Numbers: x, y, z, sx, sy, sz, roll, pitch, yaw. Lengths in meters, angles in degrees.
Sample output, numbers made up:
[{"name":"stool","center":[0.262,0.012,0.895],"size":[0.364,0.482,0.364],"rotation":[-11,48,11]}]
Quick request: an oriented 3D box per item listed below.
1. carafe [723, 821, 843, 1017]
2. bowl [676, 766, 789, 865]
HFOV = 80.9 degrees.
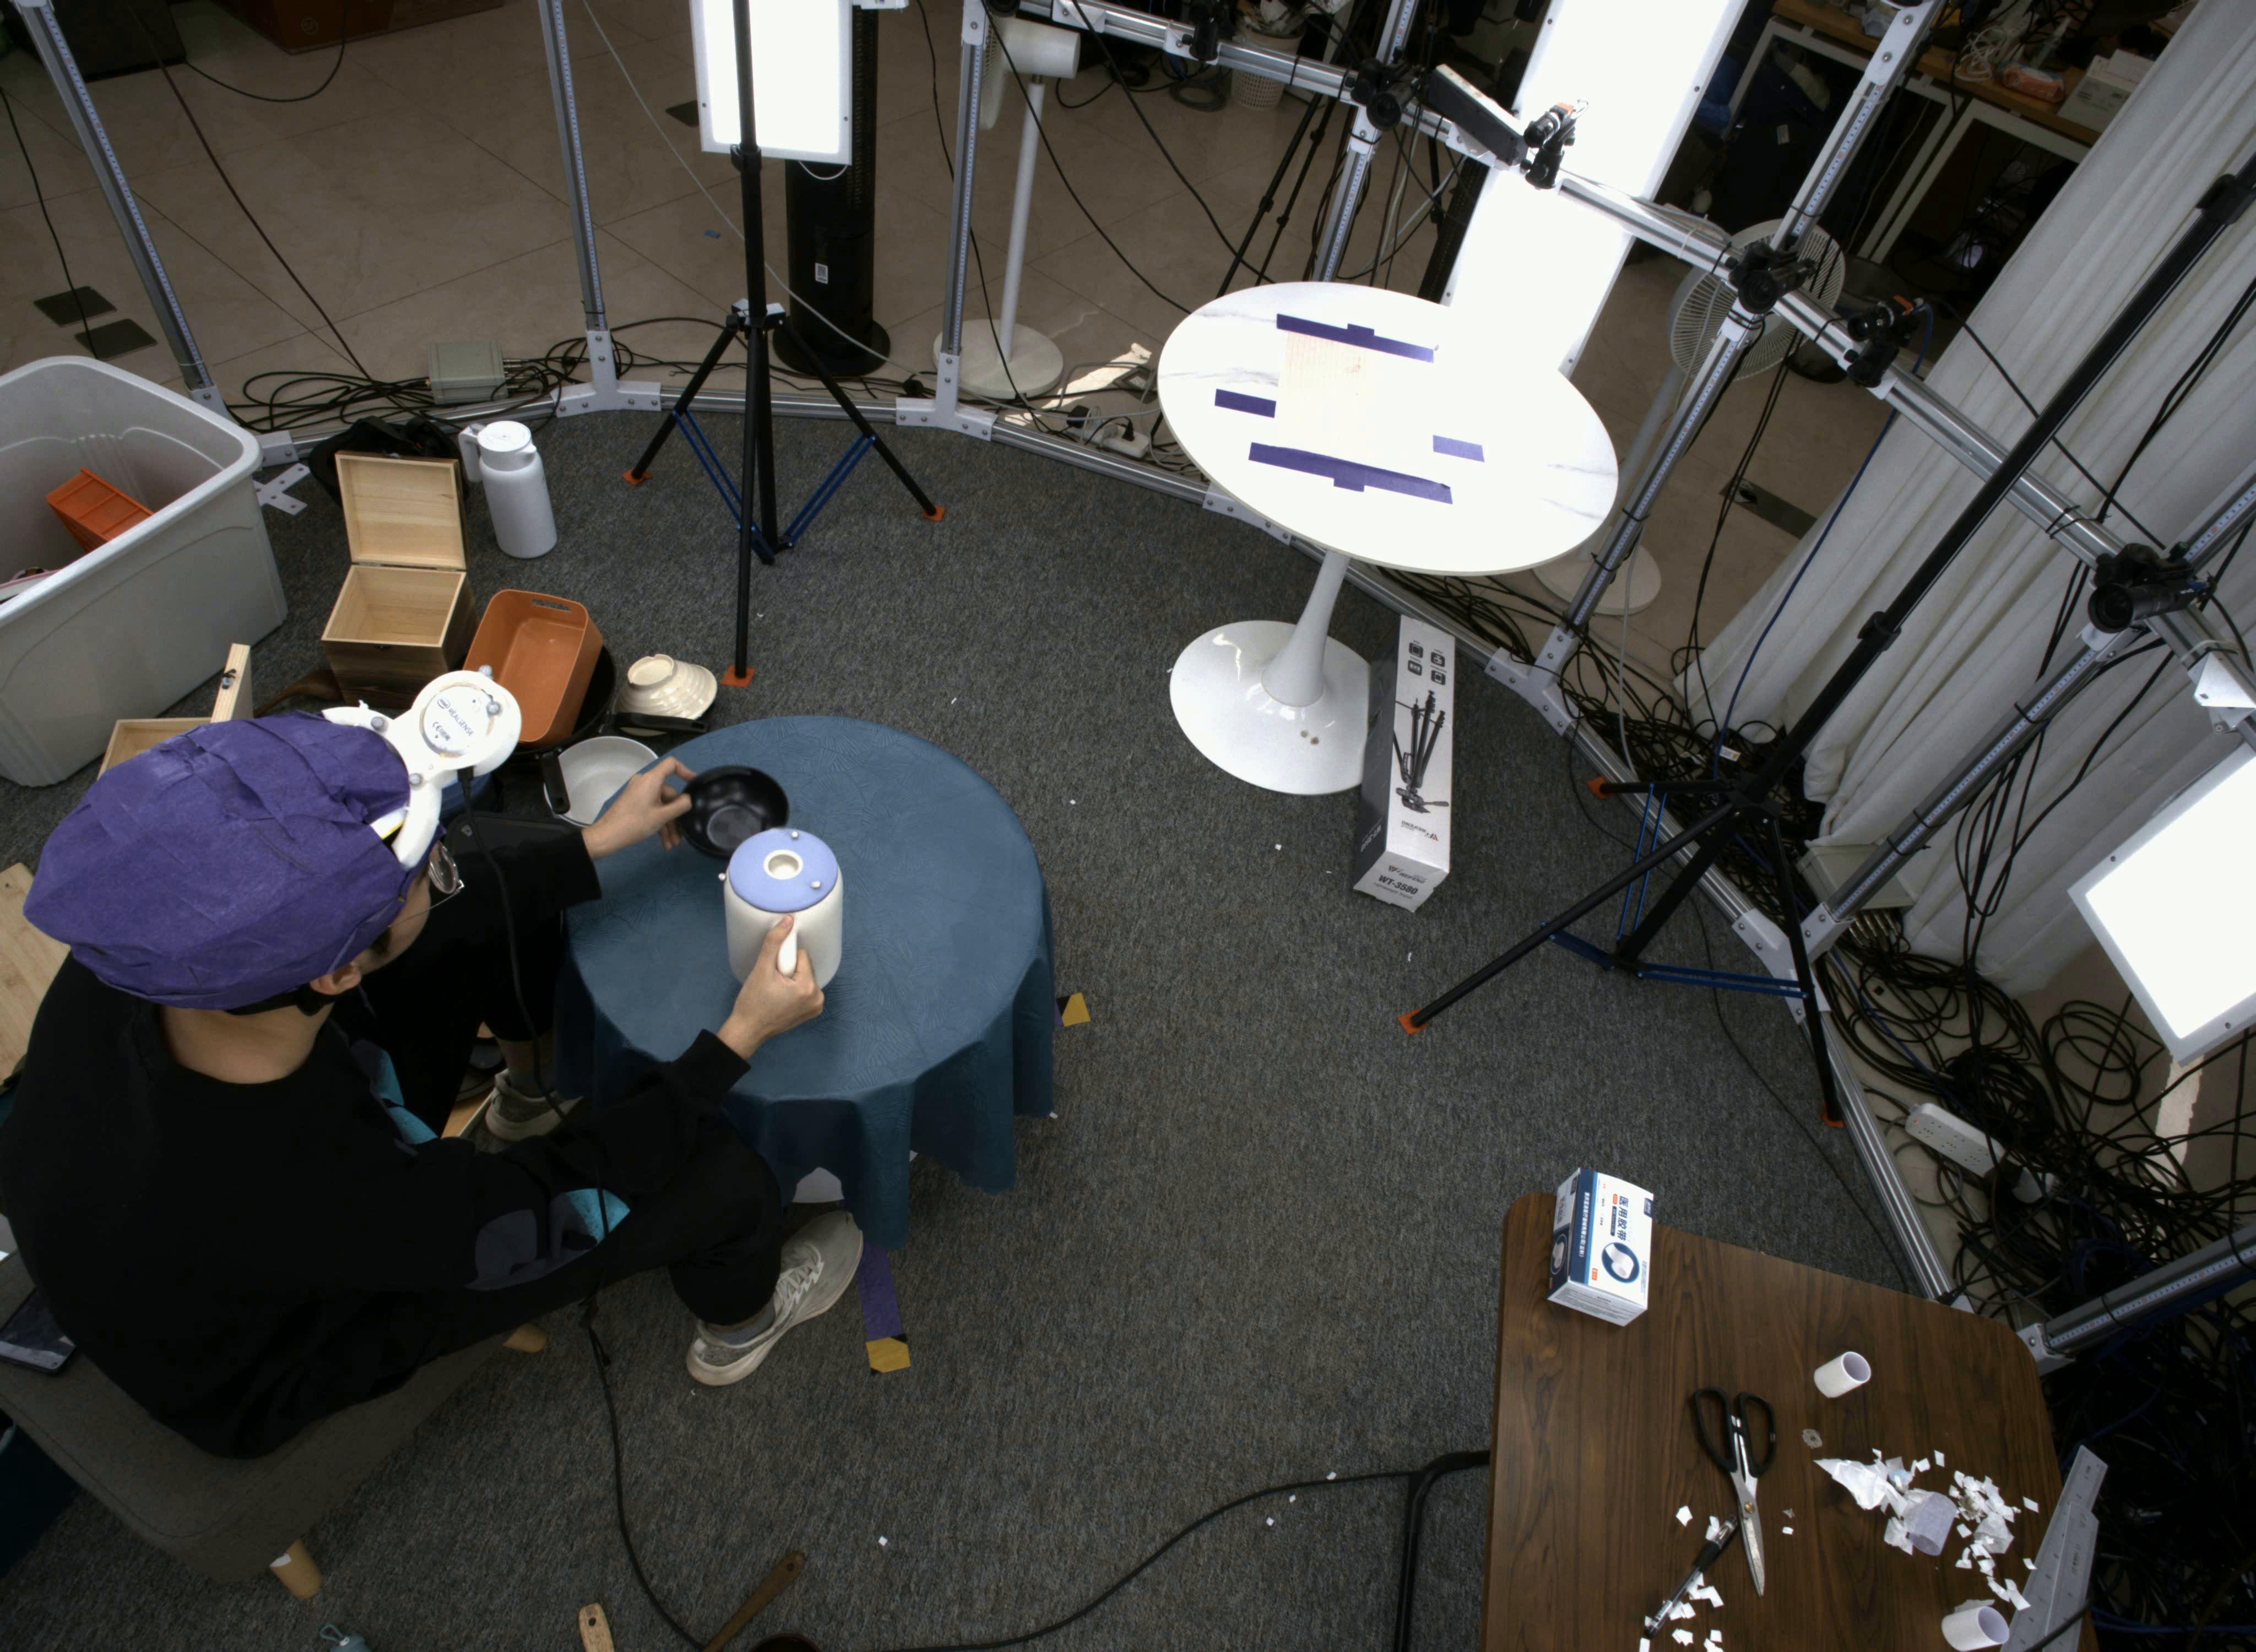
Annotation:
[{"name":"carafe","center":[-0.390,0.117,1.475],"size":[0.132,0.186,0.186],"rotation":[-4,53,-16]},{"name":"bowl","center":[-0.502,-0.007,1.642],"size":[0.140,0.050,0.138],"rotation":[8,58,-11]}]
